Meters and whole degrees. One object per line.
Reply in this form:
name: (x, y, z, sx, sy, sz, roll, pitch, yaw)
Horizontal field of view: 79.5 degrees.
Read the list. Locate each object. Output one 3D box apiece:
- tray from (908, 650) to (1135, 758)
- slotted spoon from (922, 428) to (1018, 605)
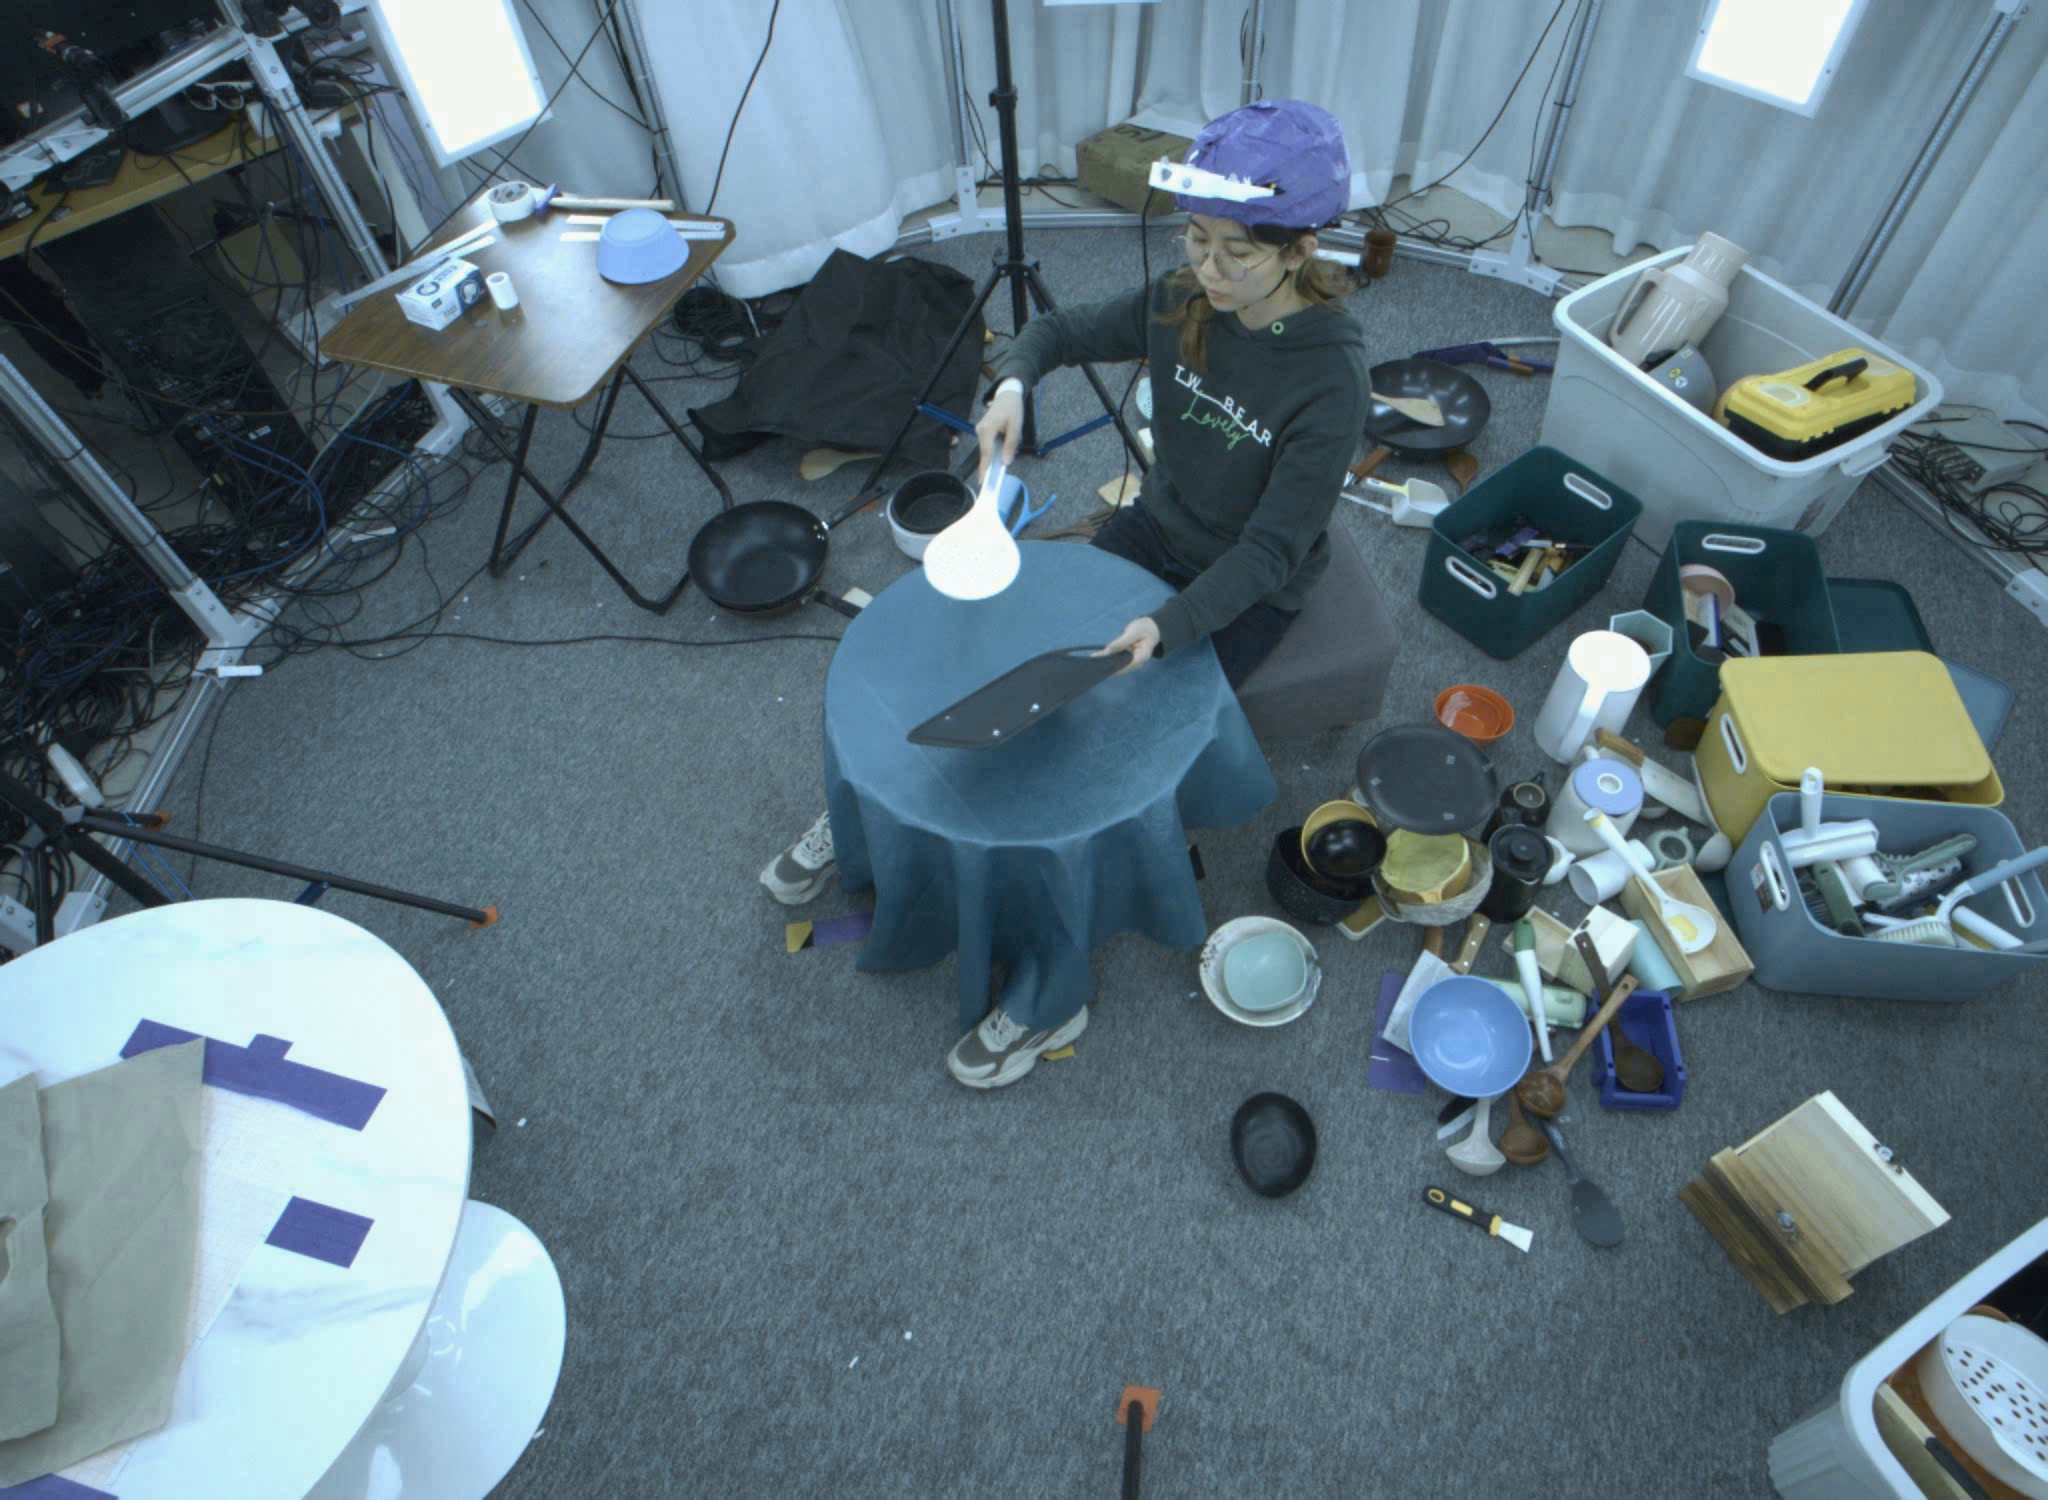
tray: (0.003, -0.072, 1.712, 0.329, 0.010, 0.206, -34, 27, -34)
slotted spoon: (-0.058, -0.351, 1.807, 0.136, 0.046, 0.348, 11, 66, 2)
